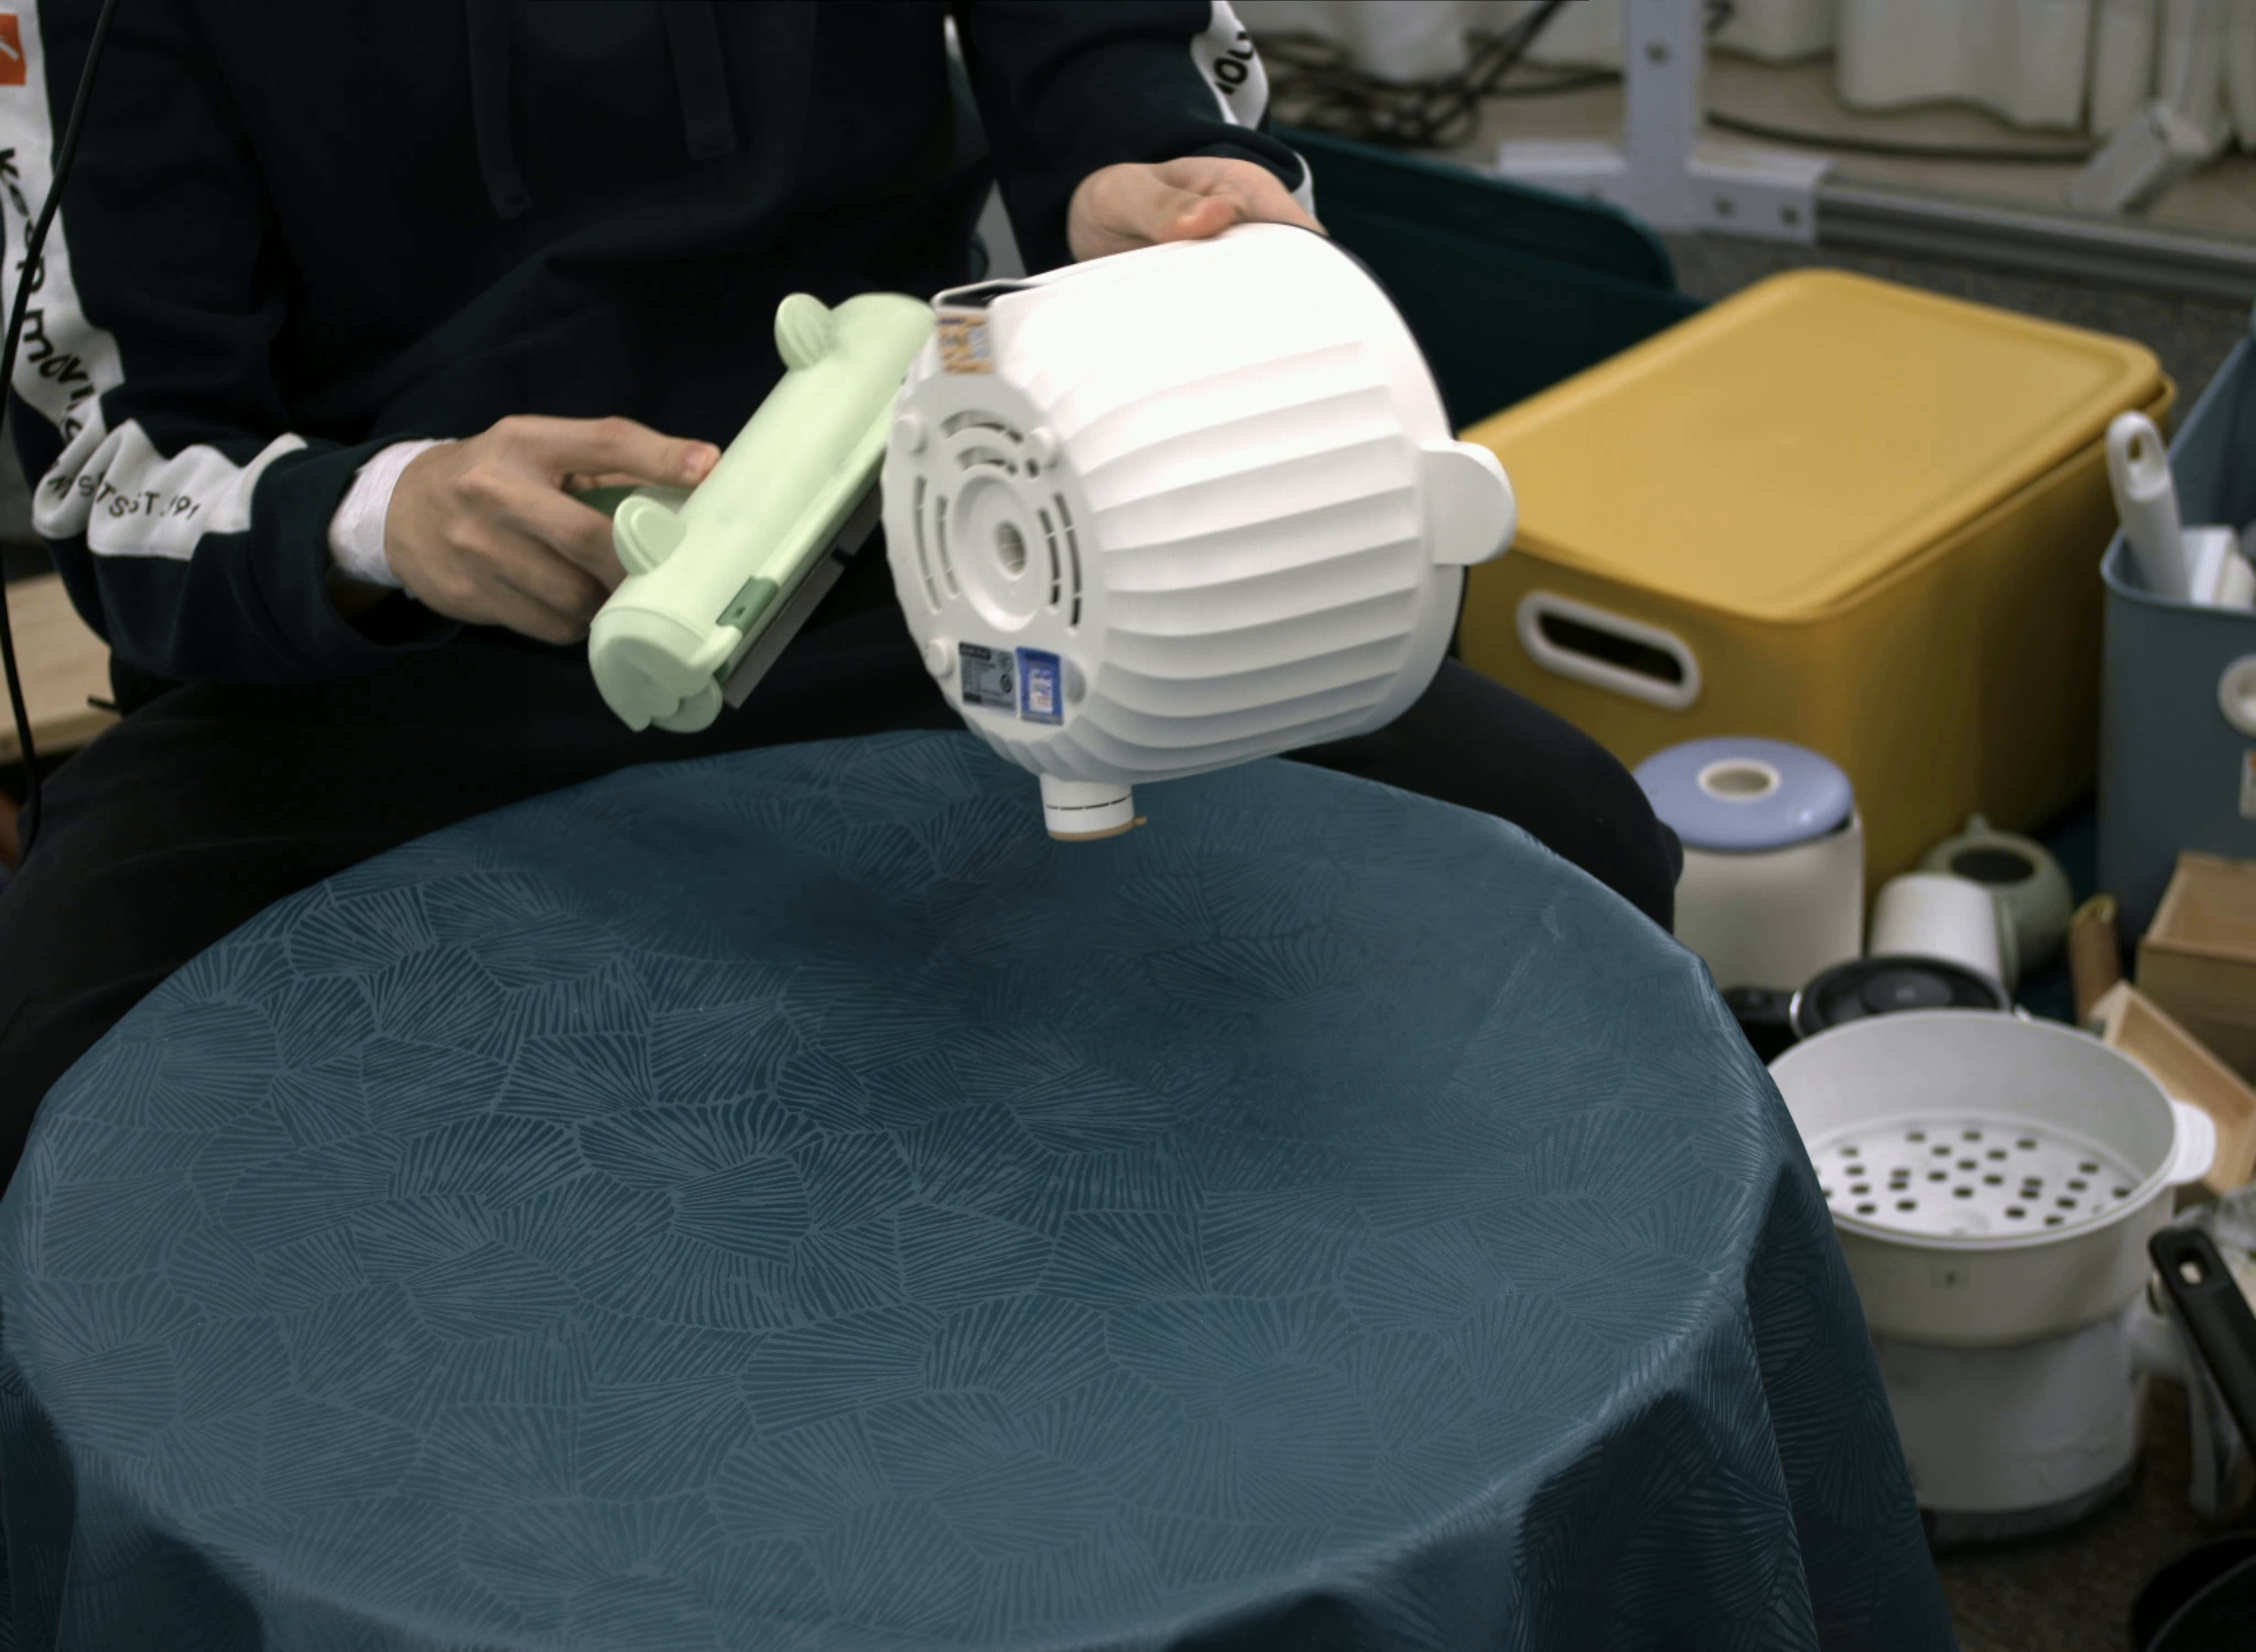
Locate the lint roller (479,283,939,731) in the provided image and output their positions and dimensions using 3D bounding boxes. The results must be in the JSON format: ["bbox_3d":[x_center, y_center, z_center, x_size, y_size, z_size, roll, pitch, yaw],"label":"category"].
[{"bbox_3d":[-0.169,-0.121,1.995,0.182,0.081,0.202,3,42,33],"label":"lint roller"}]

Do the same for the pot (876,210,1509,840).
[{"bbox_3d":[0.006,-0.102,1.912,0.144,0.190,0.239,-18,16,-31],"label":"pot"}]
